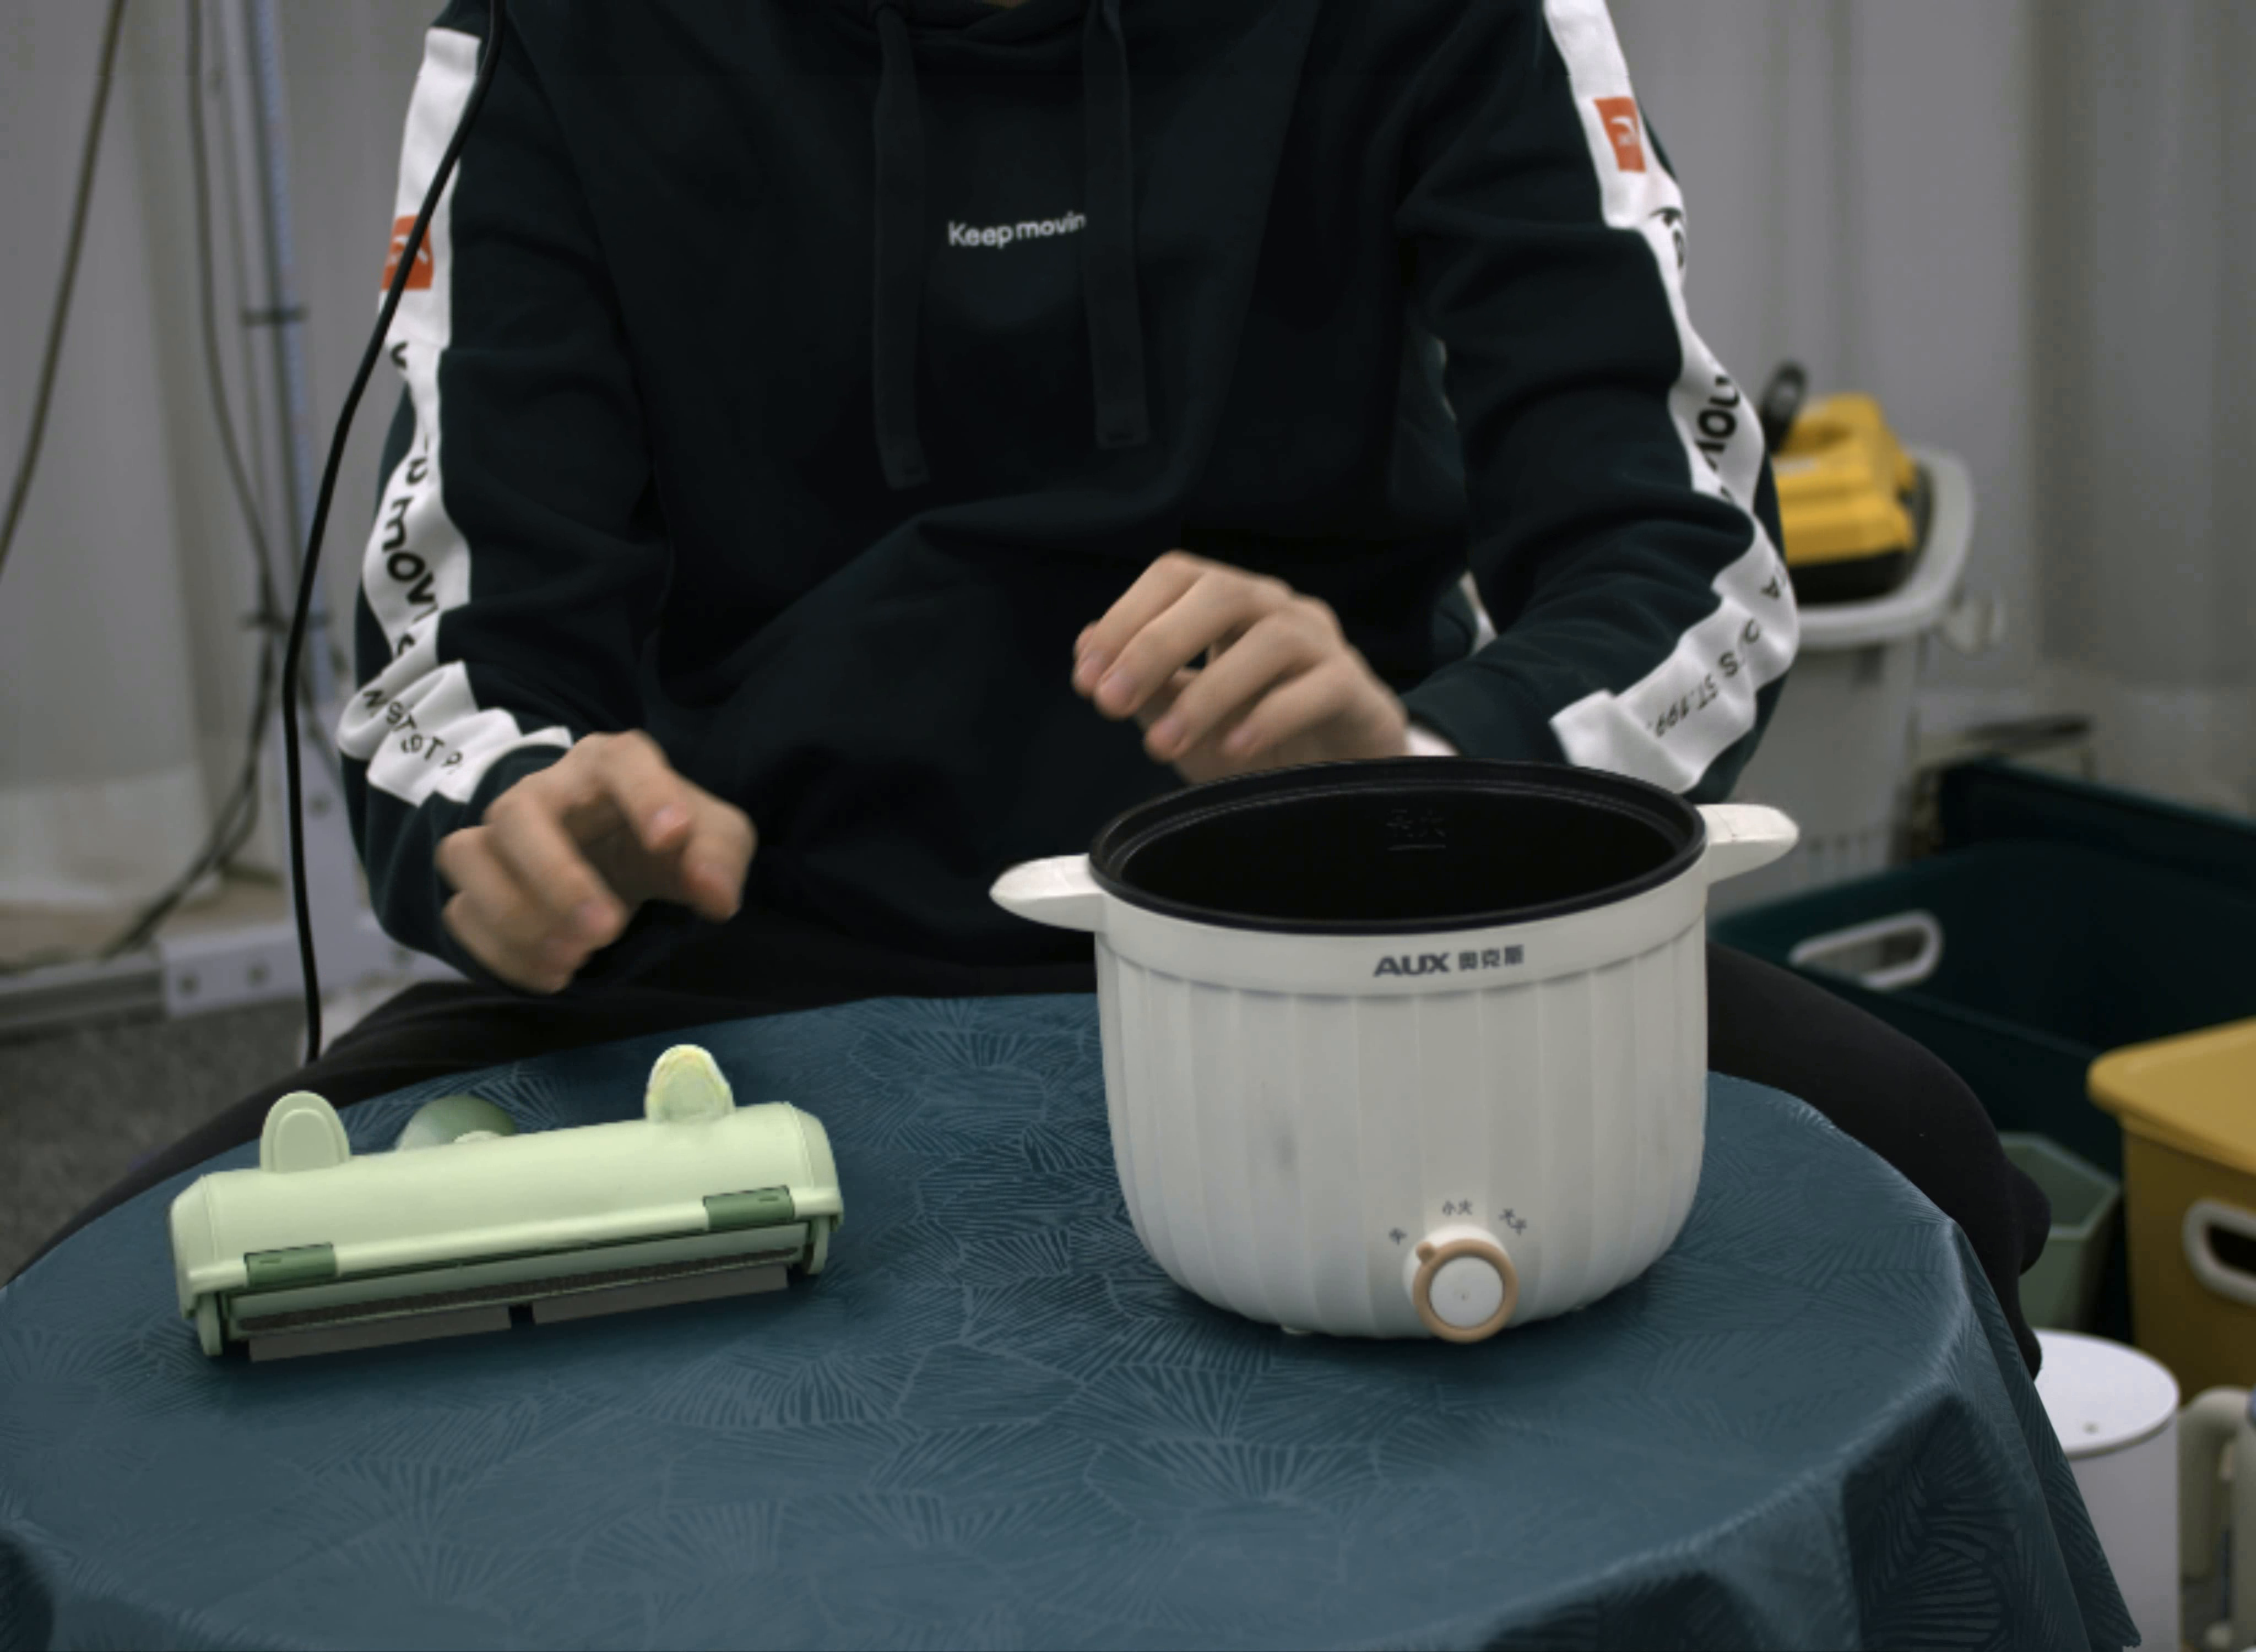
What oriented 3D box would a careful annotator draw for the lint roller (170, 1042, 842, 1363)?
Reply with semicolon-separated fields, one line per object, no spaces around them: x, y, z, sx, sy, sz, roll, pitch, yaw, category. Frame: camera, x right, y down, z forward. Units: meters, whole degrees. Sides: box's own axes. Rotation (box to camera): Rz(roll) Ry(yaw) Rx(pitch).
-0.199;0.096;1.680;0.198;0.081;0.185;-7;21;-13;lint roller

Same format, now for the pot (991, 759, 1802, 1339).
0.084;0.068;1.606;0.239;0.142;0.191;-6;11;-5;pot
